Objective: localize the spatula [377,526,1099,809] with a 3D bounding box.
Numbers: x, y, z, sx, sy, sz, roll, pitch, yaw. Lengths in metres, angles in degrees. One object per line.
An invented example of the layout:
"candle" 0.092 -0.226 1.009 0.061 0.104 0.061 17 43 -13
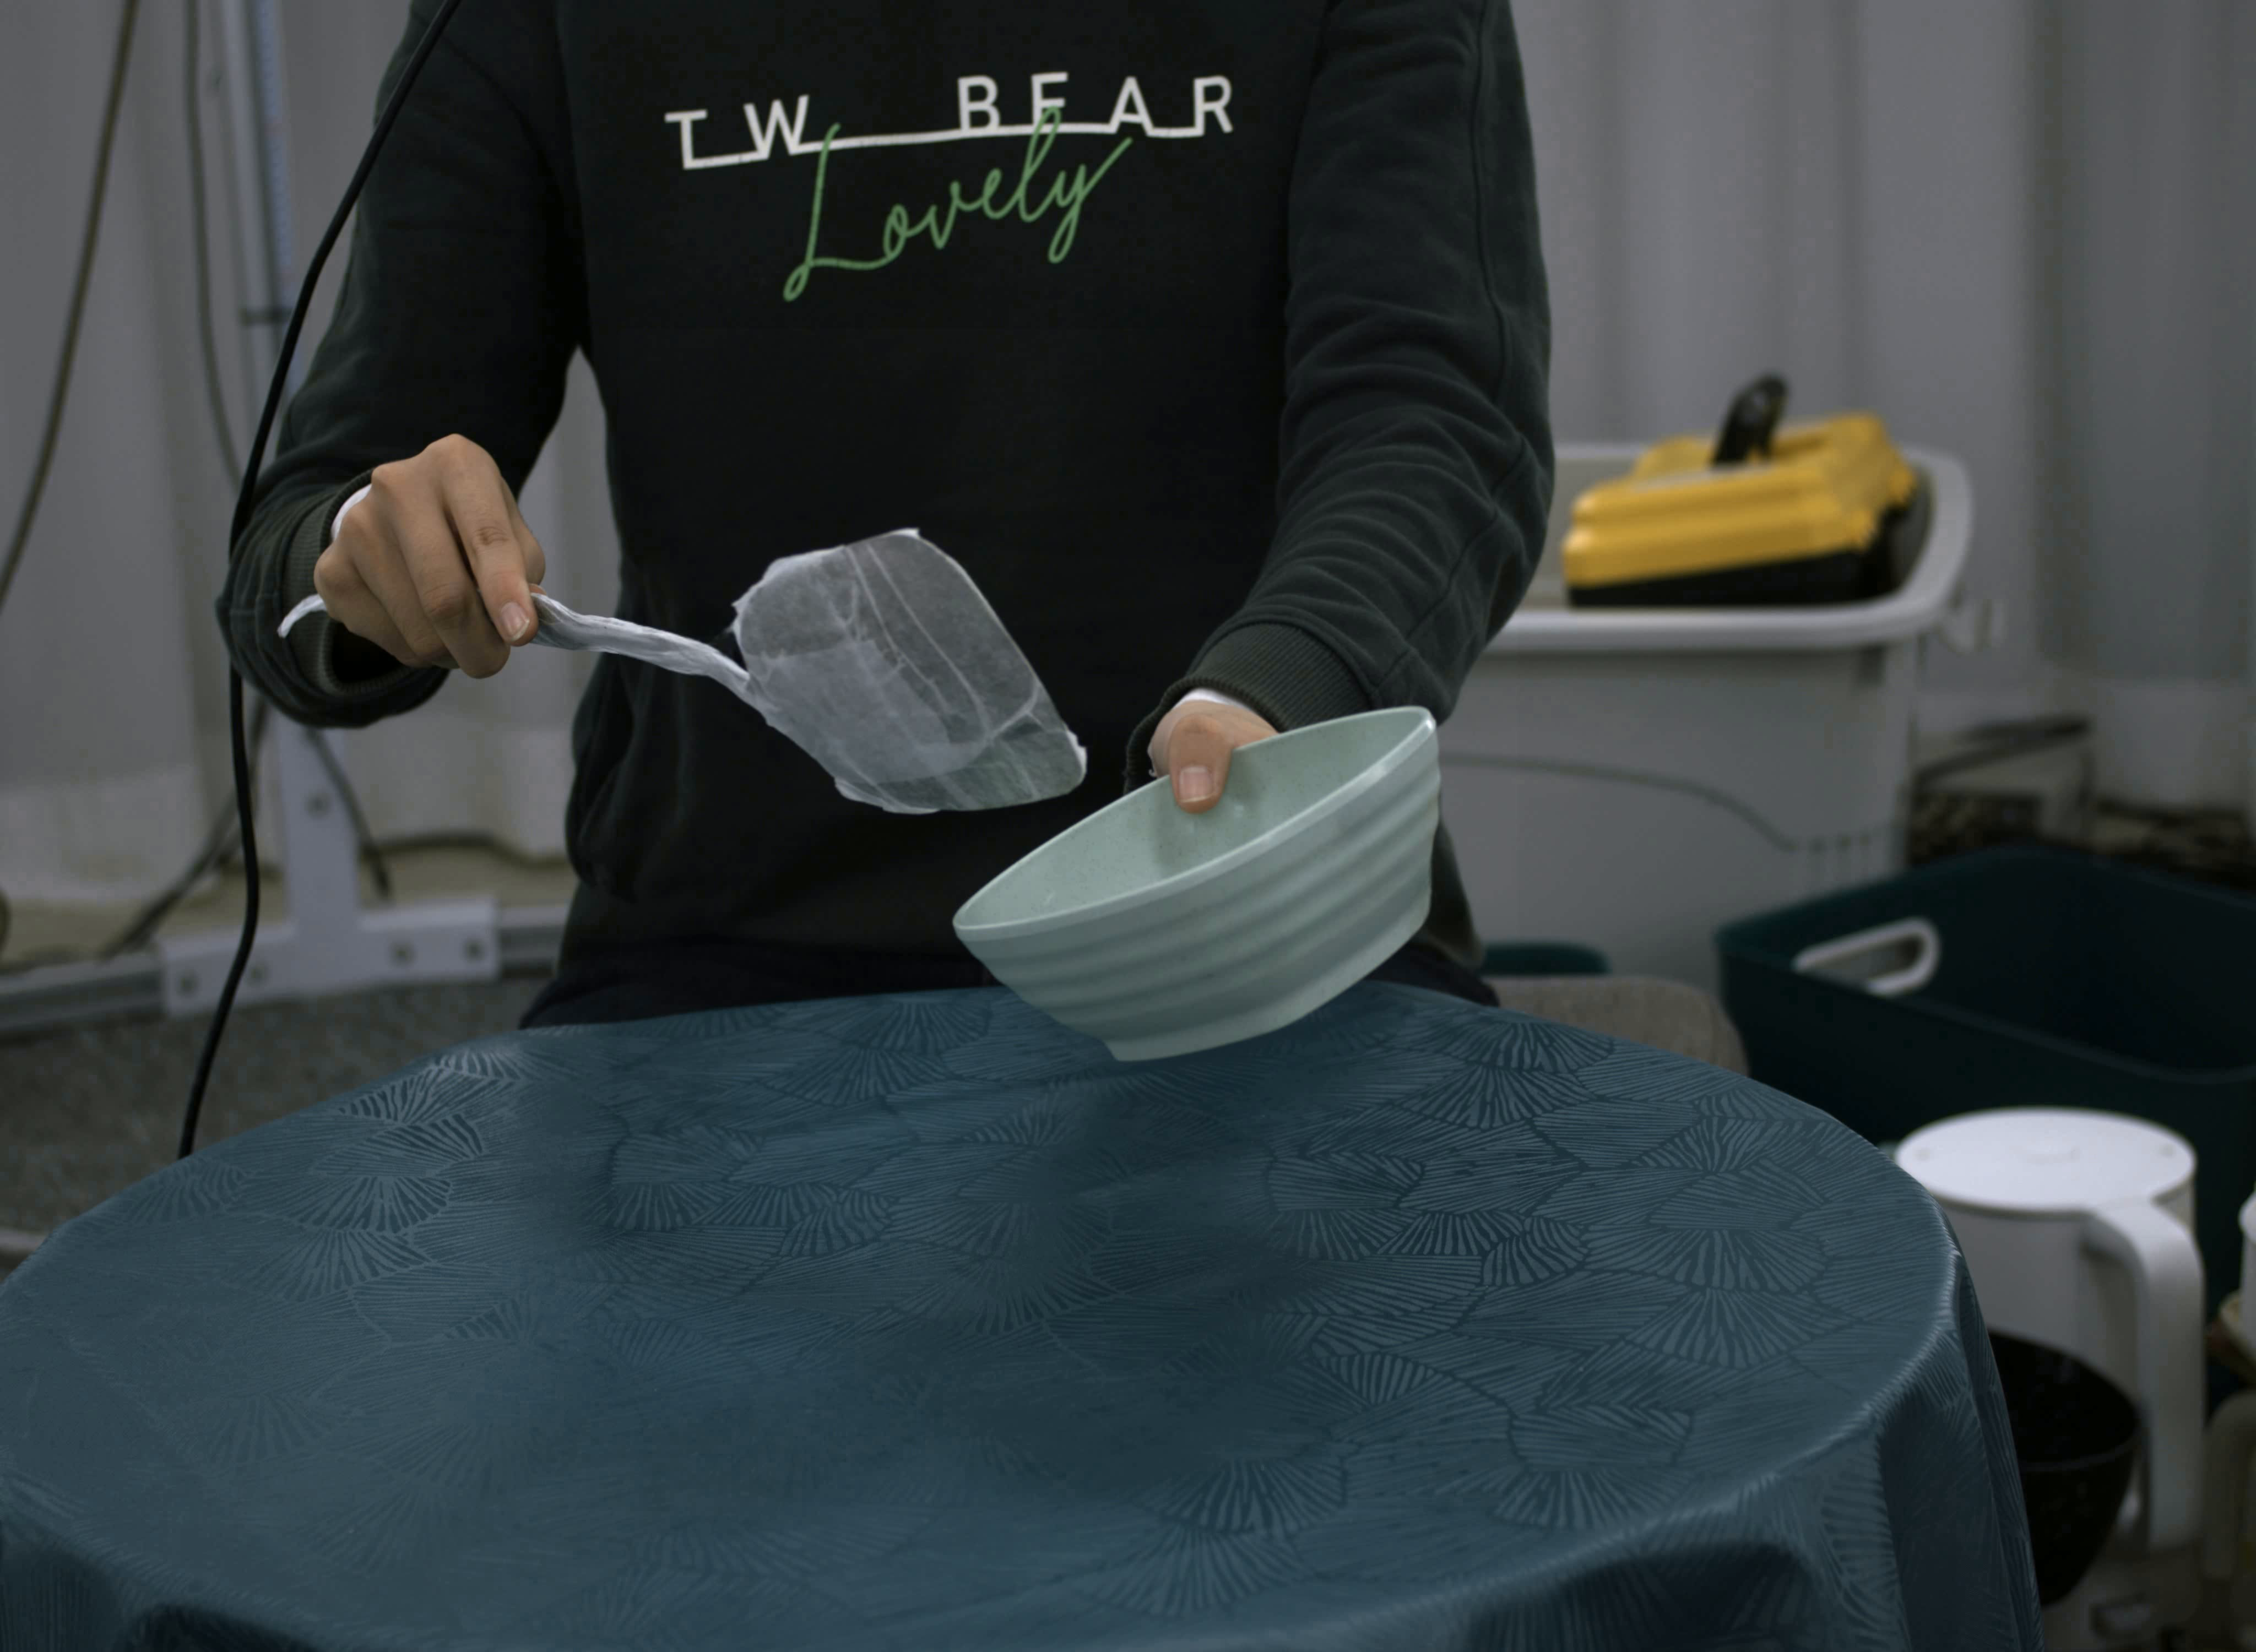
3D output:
"spatula" -0.138 -0.055 1.666 0.045 0.098 0.367 -45 28 -20

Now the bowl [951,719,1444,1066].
"bowl" 0.029 0.025 1.581 0.151 0.058 0.152 -21 13 4
